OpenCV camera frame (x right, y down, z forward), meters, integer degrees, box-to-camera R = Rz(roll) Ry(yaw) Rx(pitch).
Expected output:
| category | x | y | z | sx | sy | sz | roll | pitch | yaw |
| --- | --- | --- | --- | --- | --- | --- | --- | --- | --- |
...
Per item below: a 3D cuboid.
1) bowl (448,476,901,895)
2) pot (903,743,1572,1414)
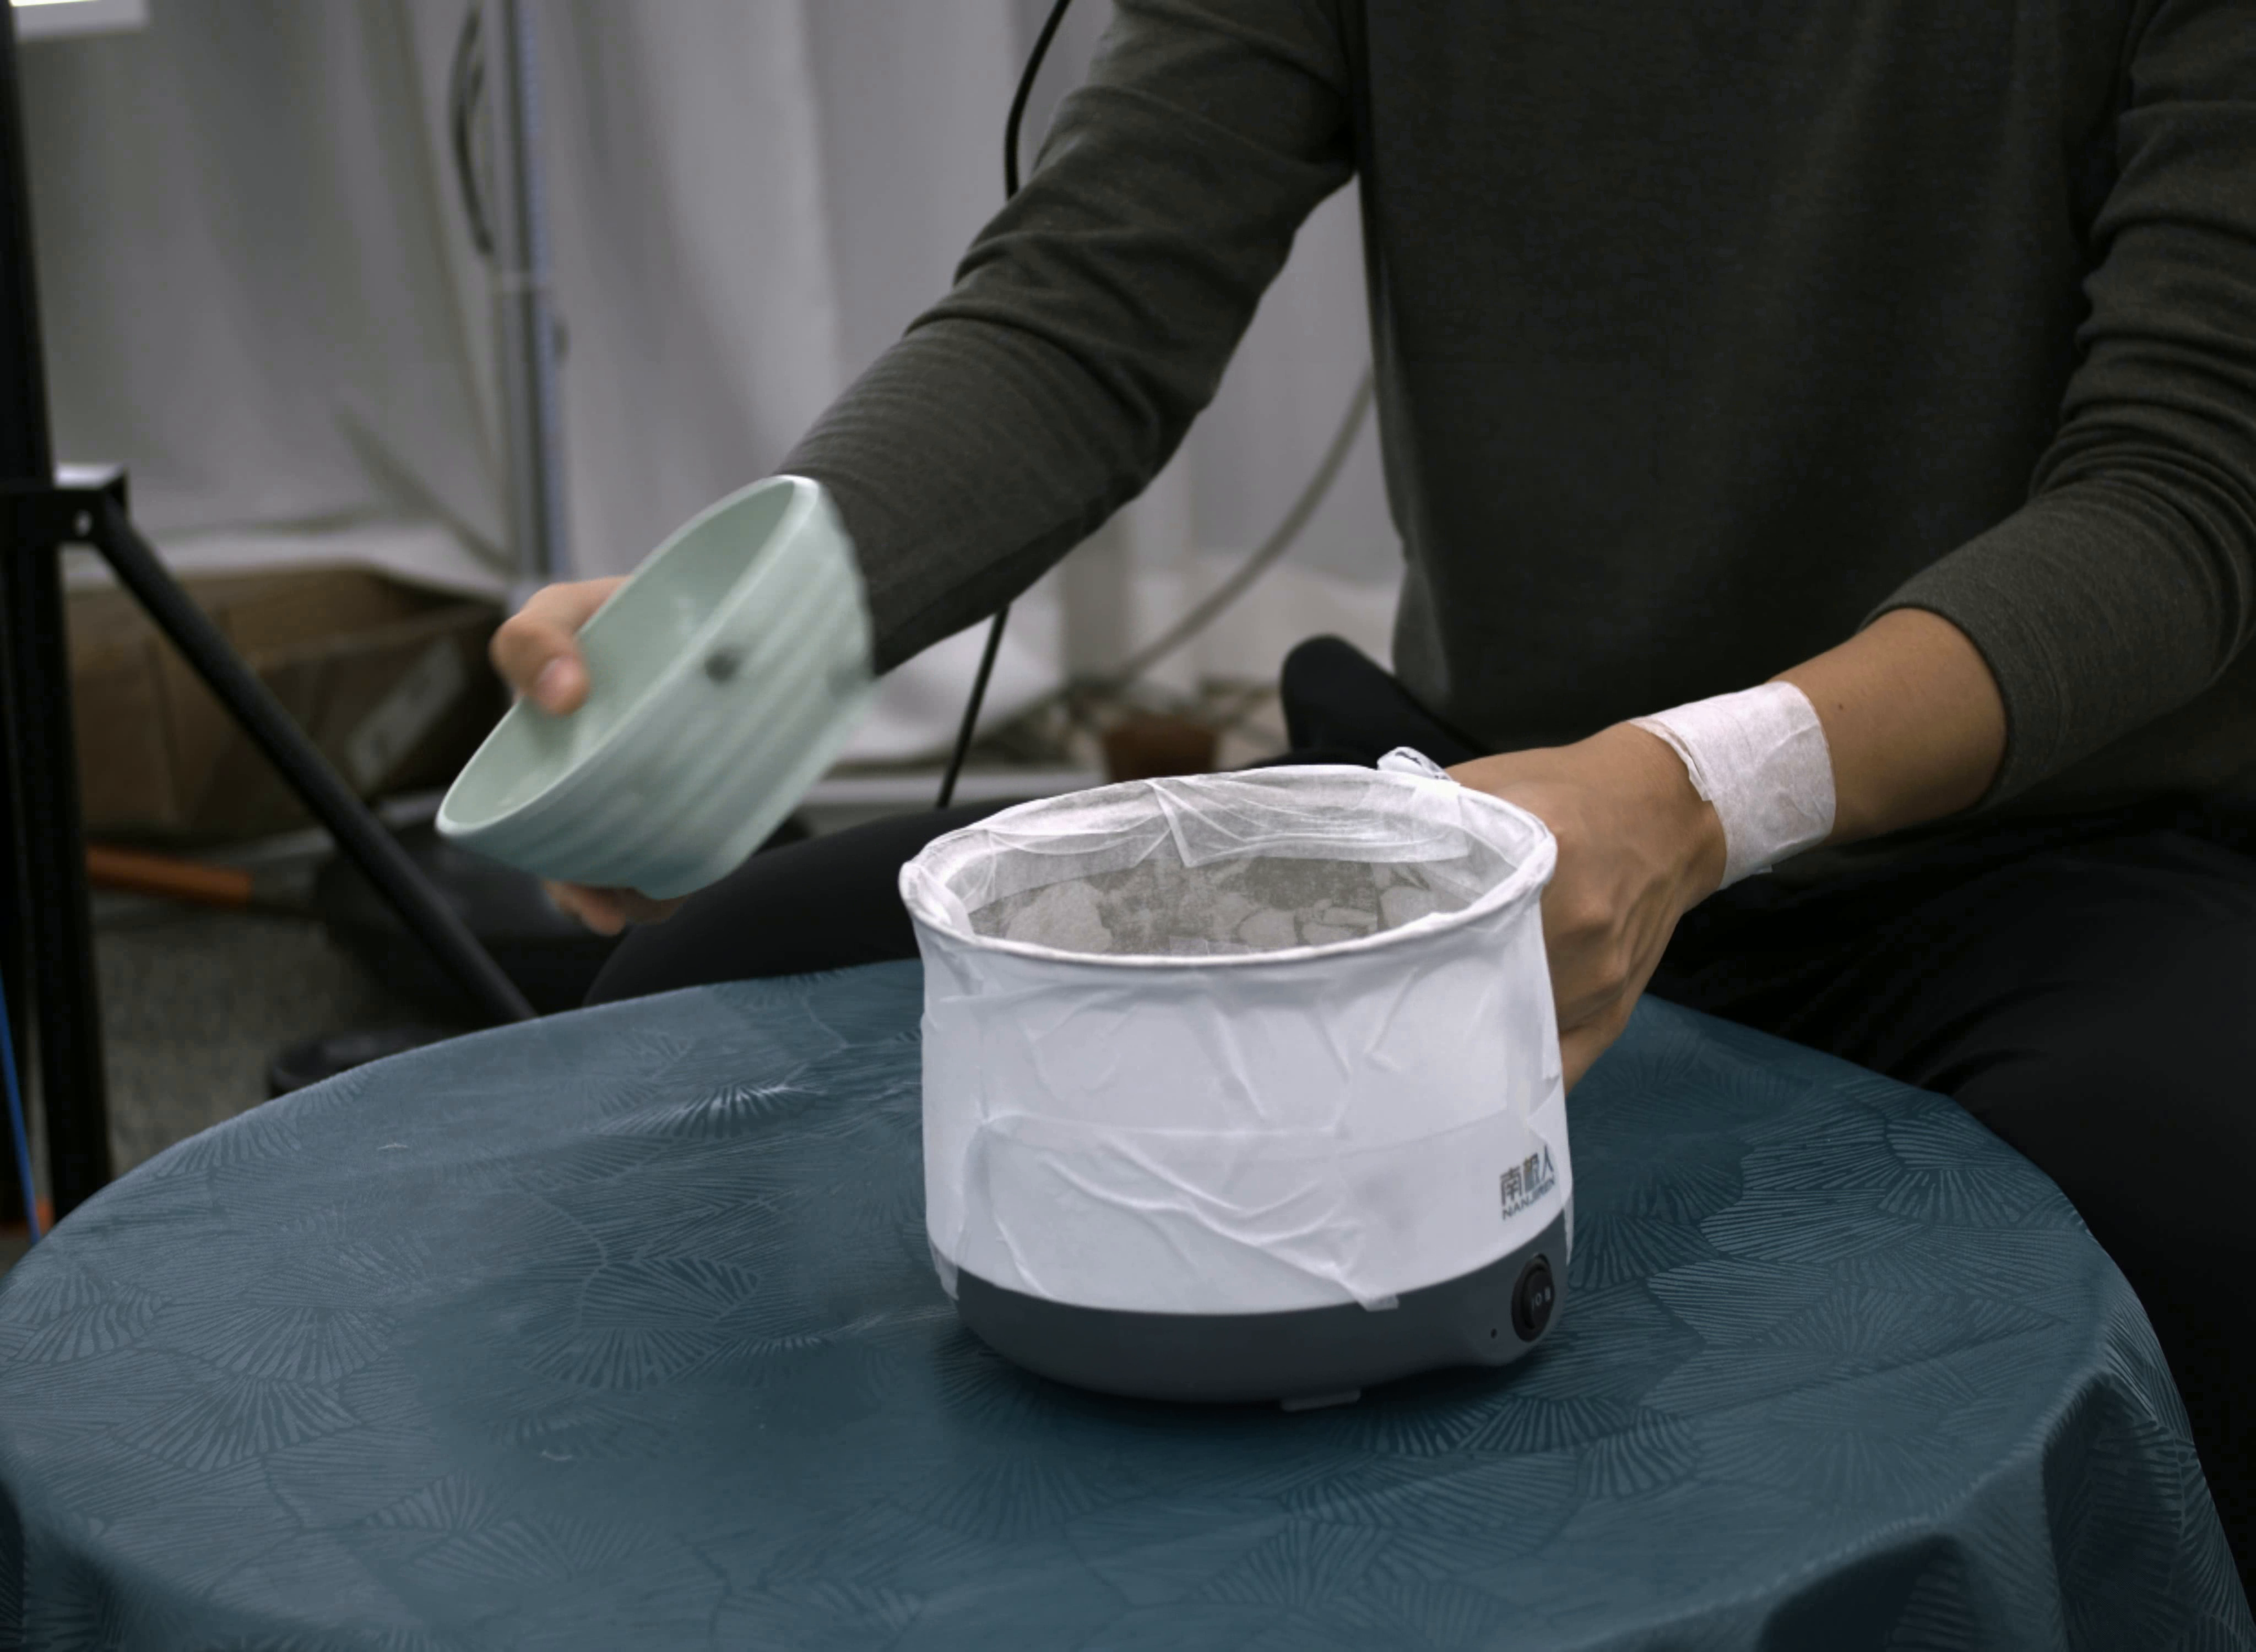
| category | x | y | z | sx | sy | sz | roll | pitch | yaw |
| --- | --- | --- | --- | --- | --- | --- | --- | --- | --- |
| bowl | -0.118 | -0.030 | 1.505 | 0.152 | 0.058 | 0.152 | -38 | 18 | 12 |
| pot | 0.045 | 0.062 | 1.456 | 0.182 | 0.136 | 0.229 | 6 | 19 | 31 |
